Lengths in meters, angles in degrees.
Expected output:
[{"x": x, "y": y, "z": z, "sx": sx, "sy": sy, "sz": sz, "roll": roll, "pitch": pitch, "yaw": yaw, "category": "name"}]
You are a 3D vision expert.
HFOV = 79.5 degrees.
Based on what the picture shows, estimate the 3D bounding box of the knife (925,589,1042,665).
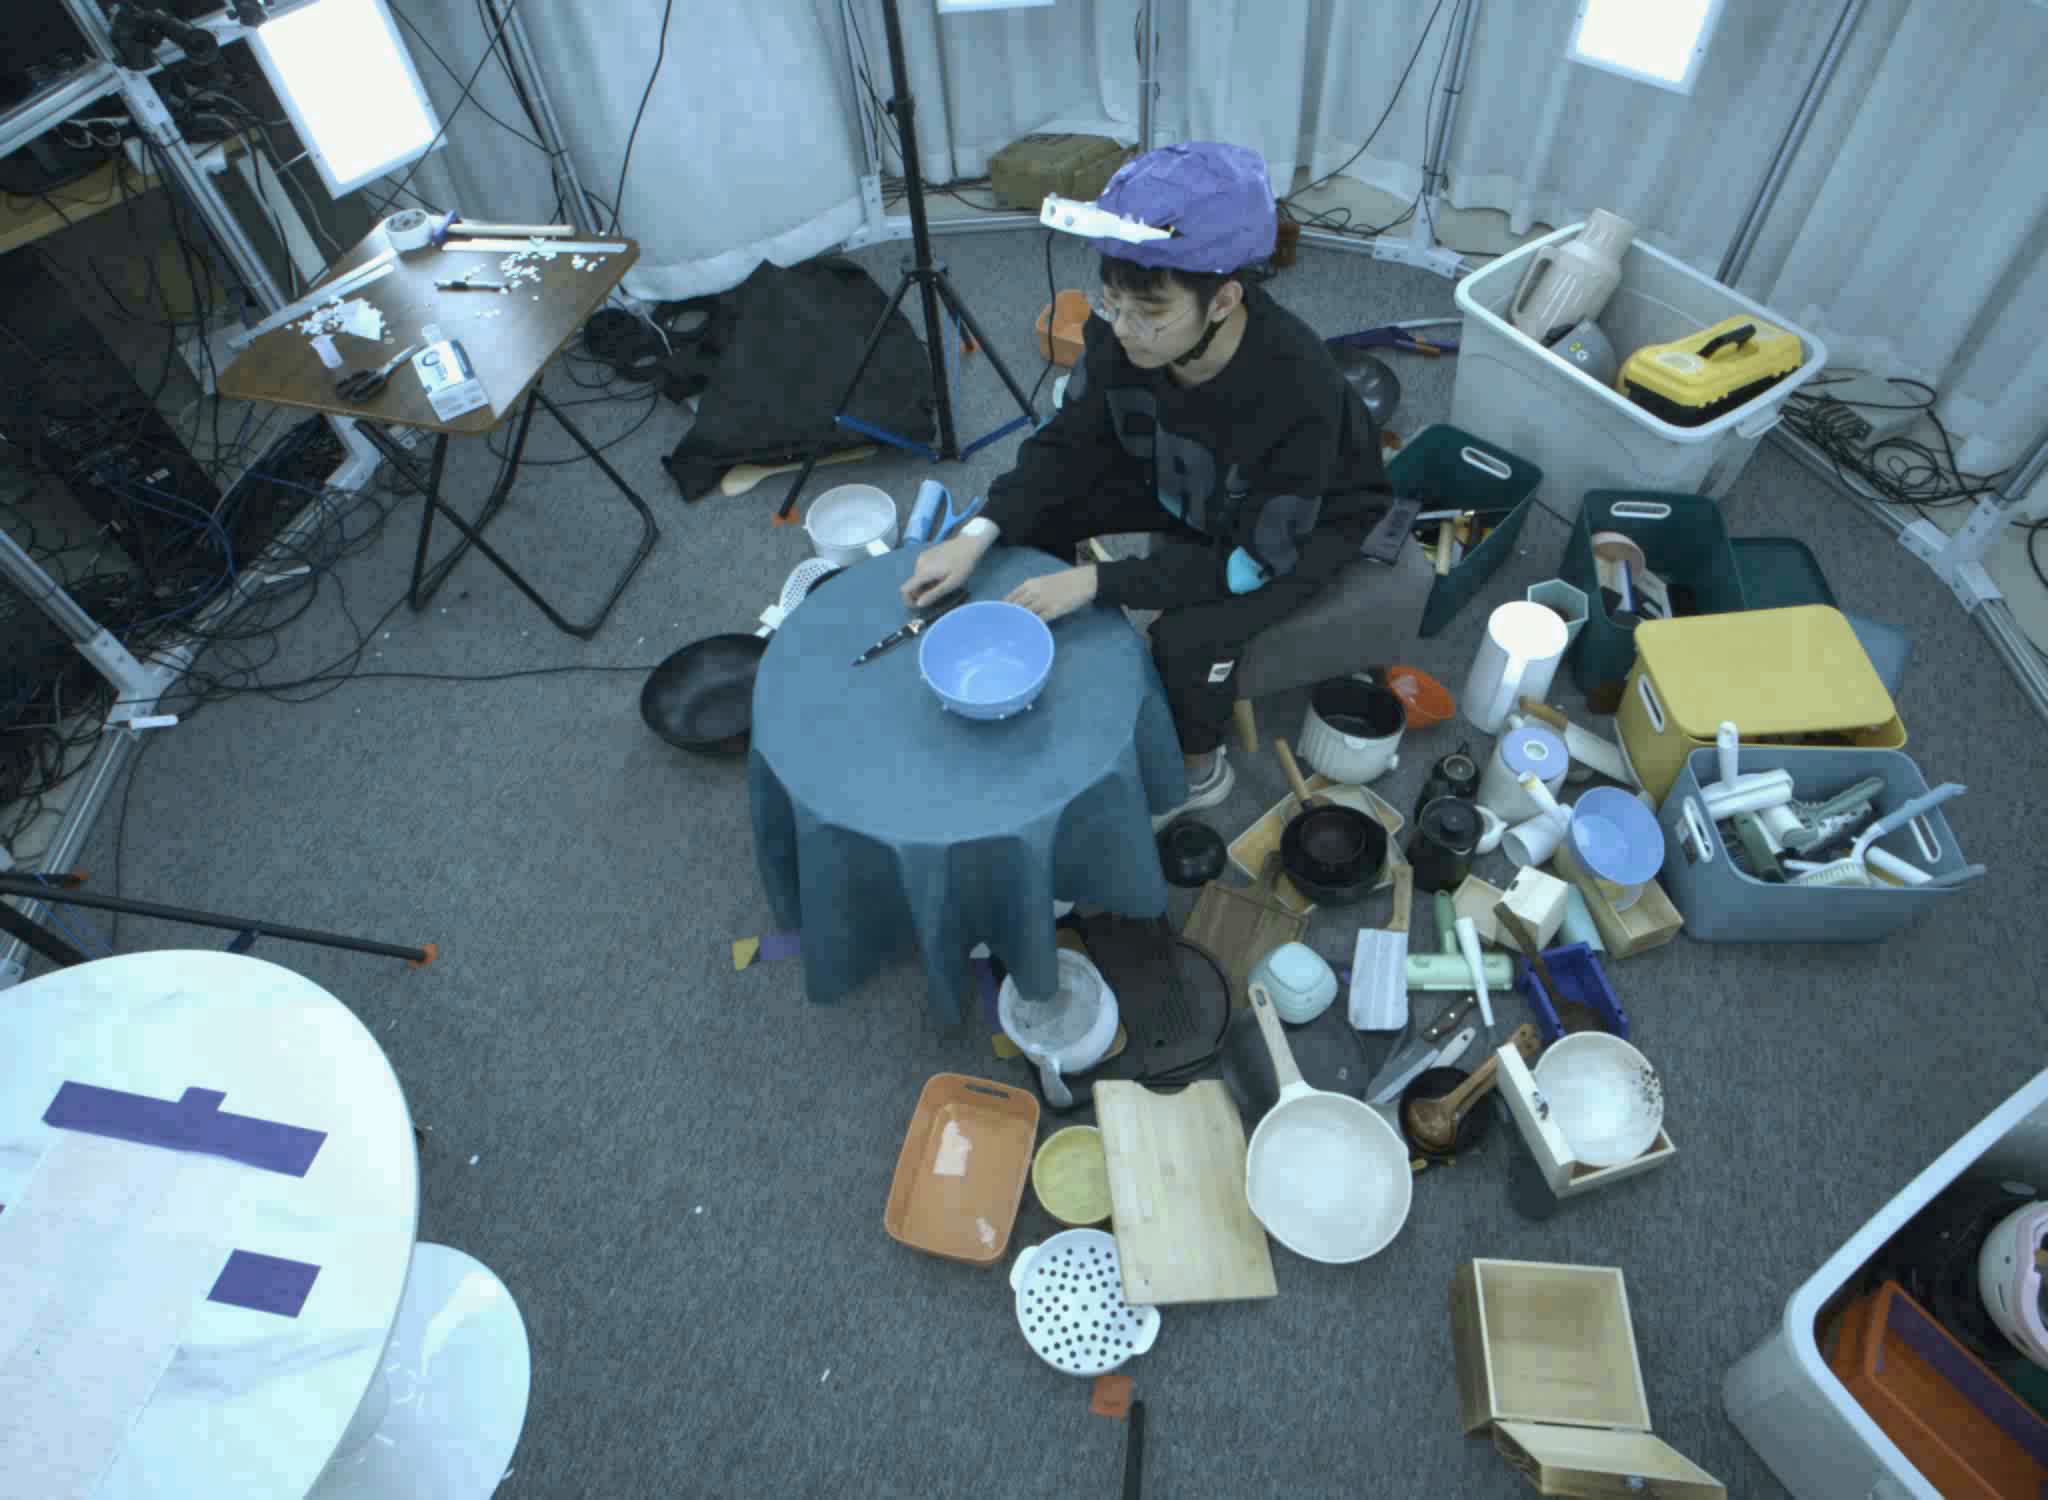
[{"x": -0.064, "y": -0.194, "z": 1.920, "sx": 0.227, "sy": 0.017, "sz": 0.026, "roll": -32, "pitch": 65, "yaw": -17, "category": "knife"}]

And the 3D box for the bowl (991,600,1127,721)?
[{"x": 0.054, "y": -0.117, "z": 1.806, "sx": 0.196, "sy": 0.096, "sz": 0.194, "roll": -2, "pitch": 57, "yaw": 4, "category": "bowl"}]
